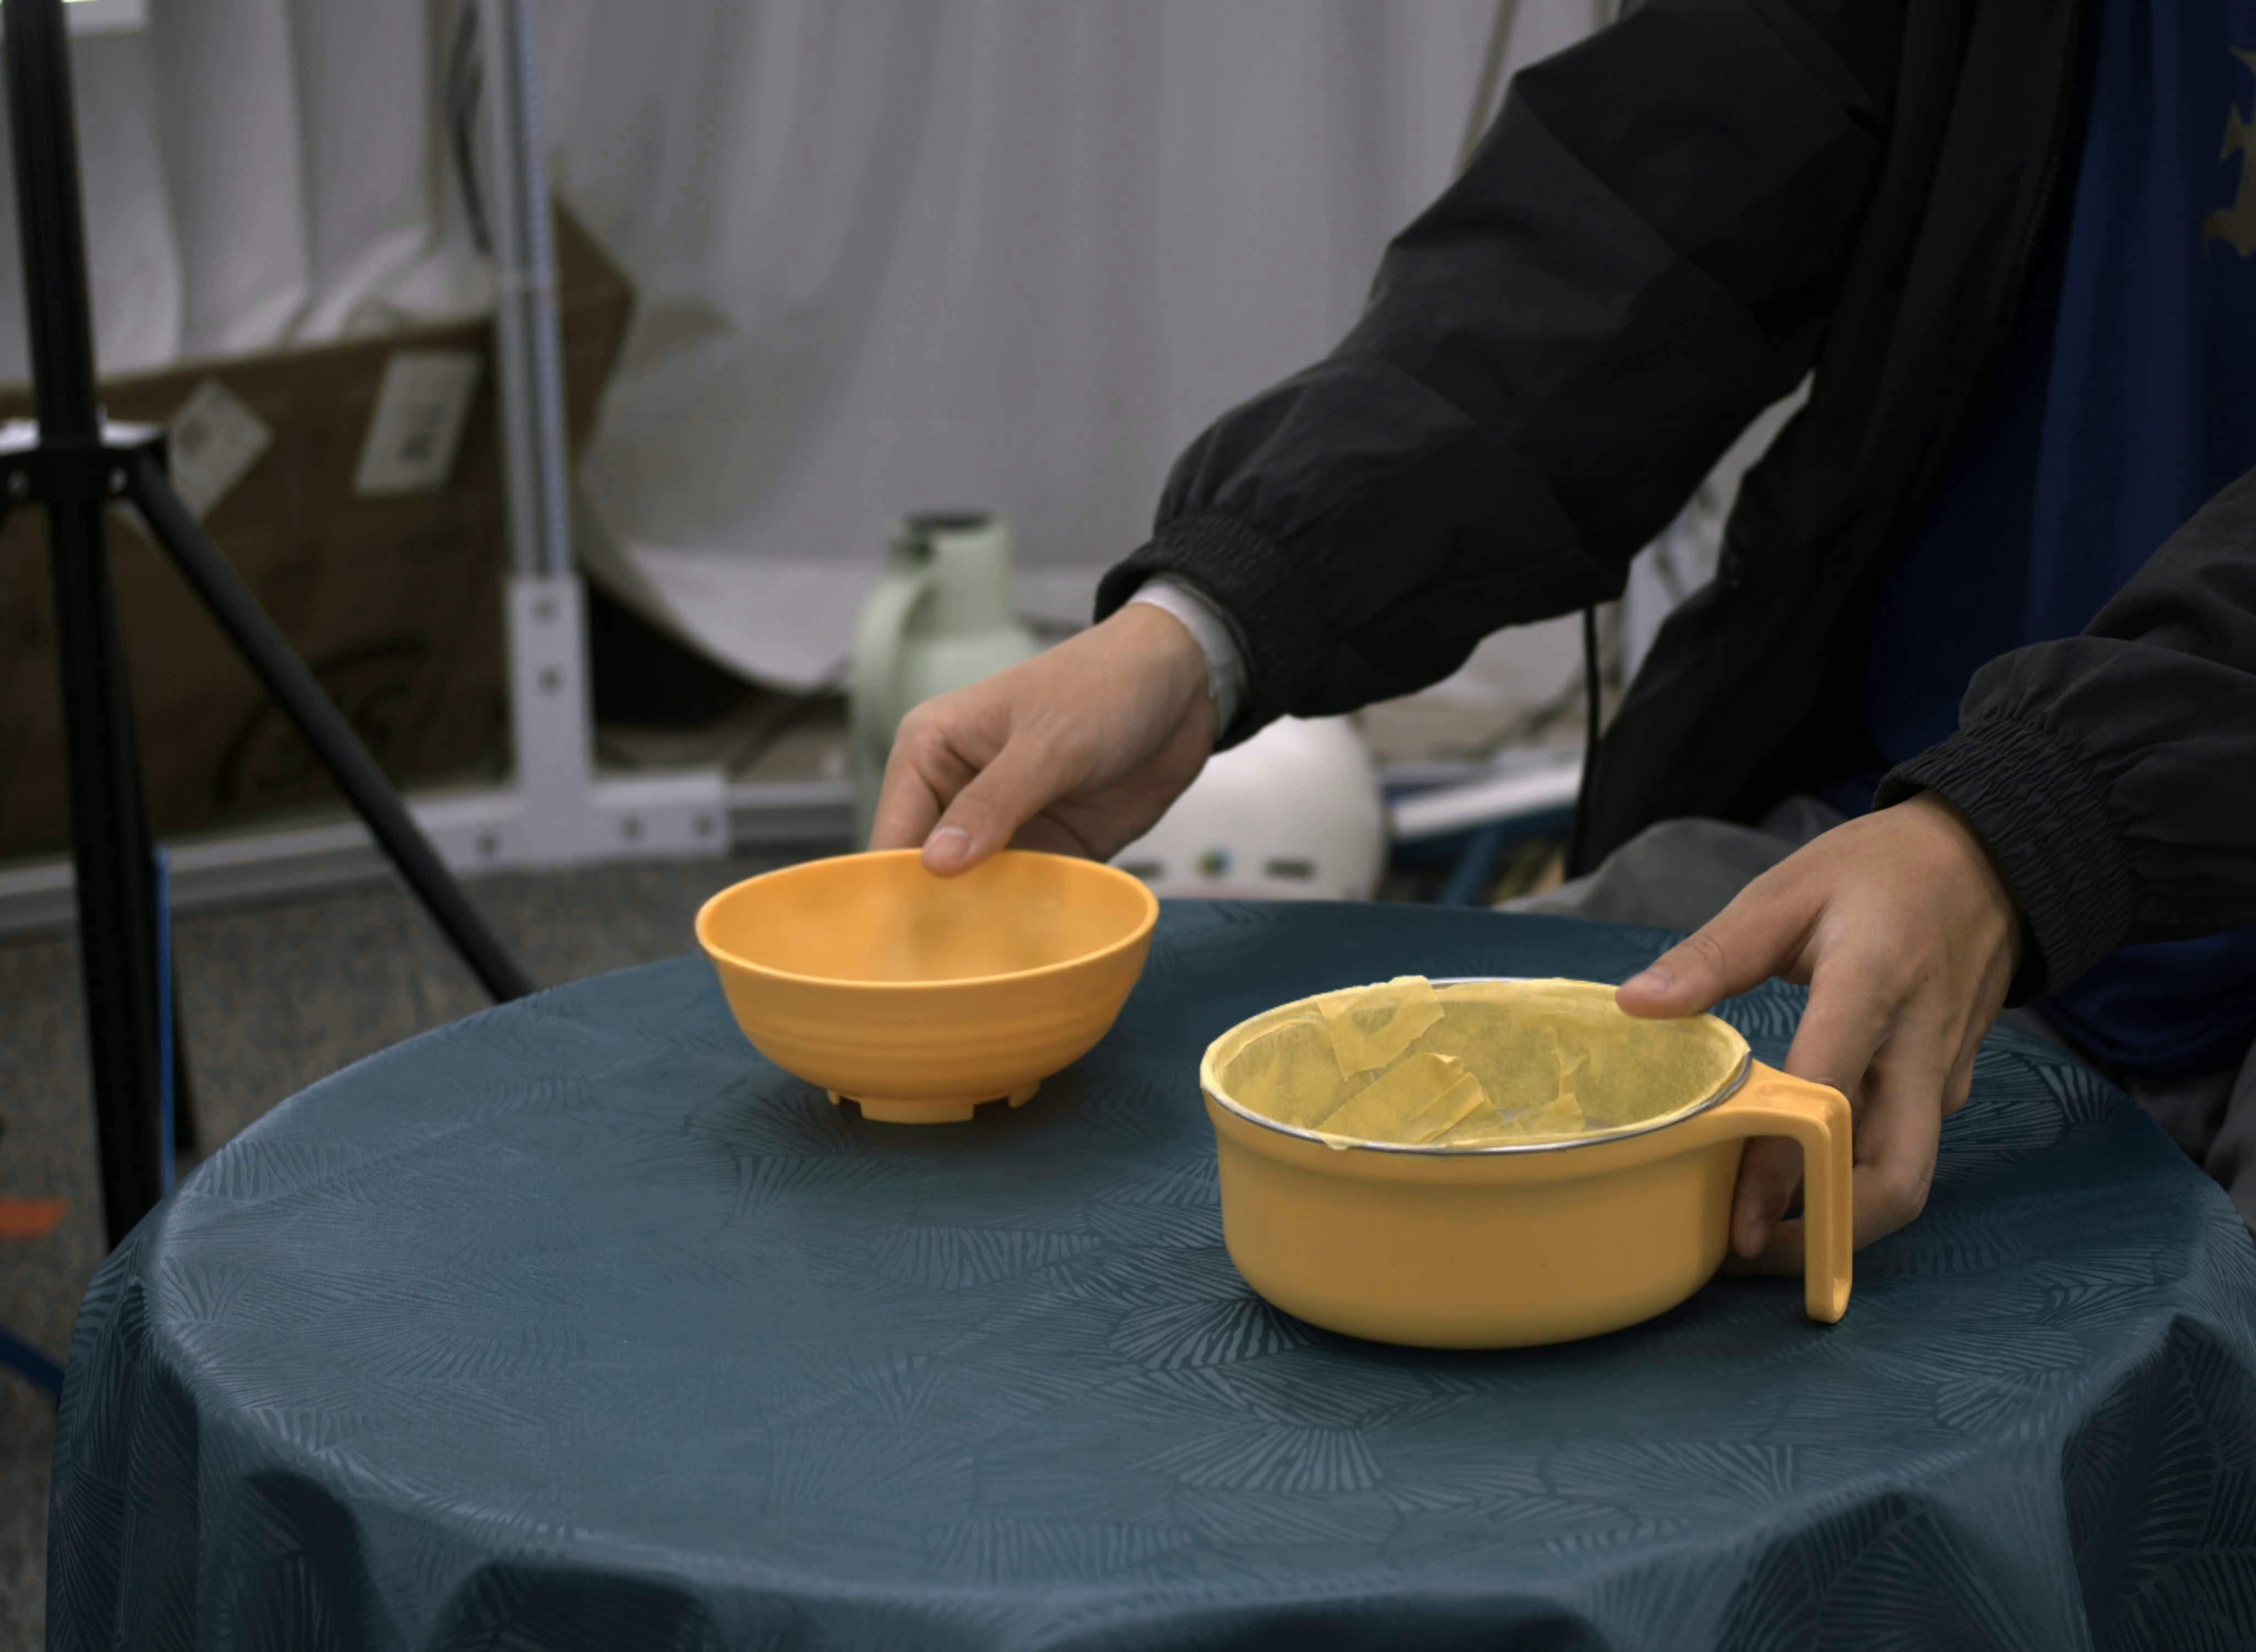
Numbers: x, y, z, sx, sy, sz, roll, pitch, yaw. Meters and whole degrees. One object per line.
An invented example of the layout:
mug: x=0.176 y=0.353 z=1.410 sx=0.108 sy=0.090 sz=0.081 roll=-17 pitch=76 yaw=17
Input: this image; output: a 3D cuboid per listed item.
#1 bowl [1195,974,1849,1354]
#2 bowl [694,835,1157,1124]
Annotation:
bowl: x=0.109 y=0.096 z=1.457 sx=0.181 sy=0.074 sz=0.151 roll=2 pitch=13 yaw=18
bowl: x=-0.062 y=0.053 z=1.654 sx=0.144 sy=0.060 sz=0.146 roll=-1 pitch=18 yaw=-1
